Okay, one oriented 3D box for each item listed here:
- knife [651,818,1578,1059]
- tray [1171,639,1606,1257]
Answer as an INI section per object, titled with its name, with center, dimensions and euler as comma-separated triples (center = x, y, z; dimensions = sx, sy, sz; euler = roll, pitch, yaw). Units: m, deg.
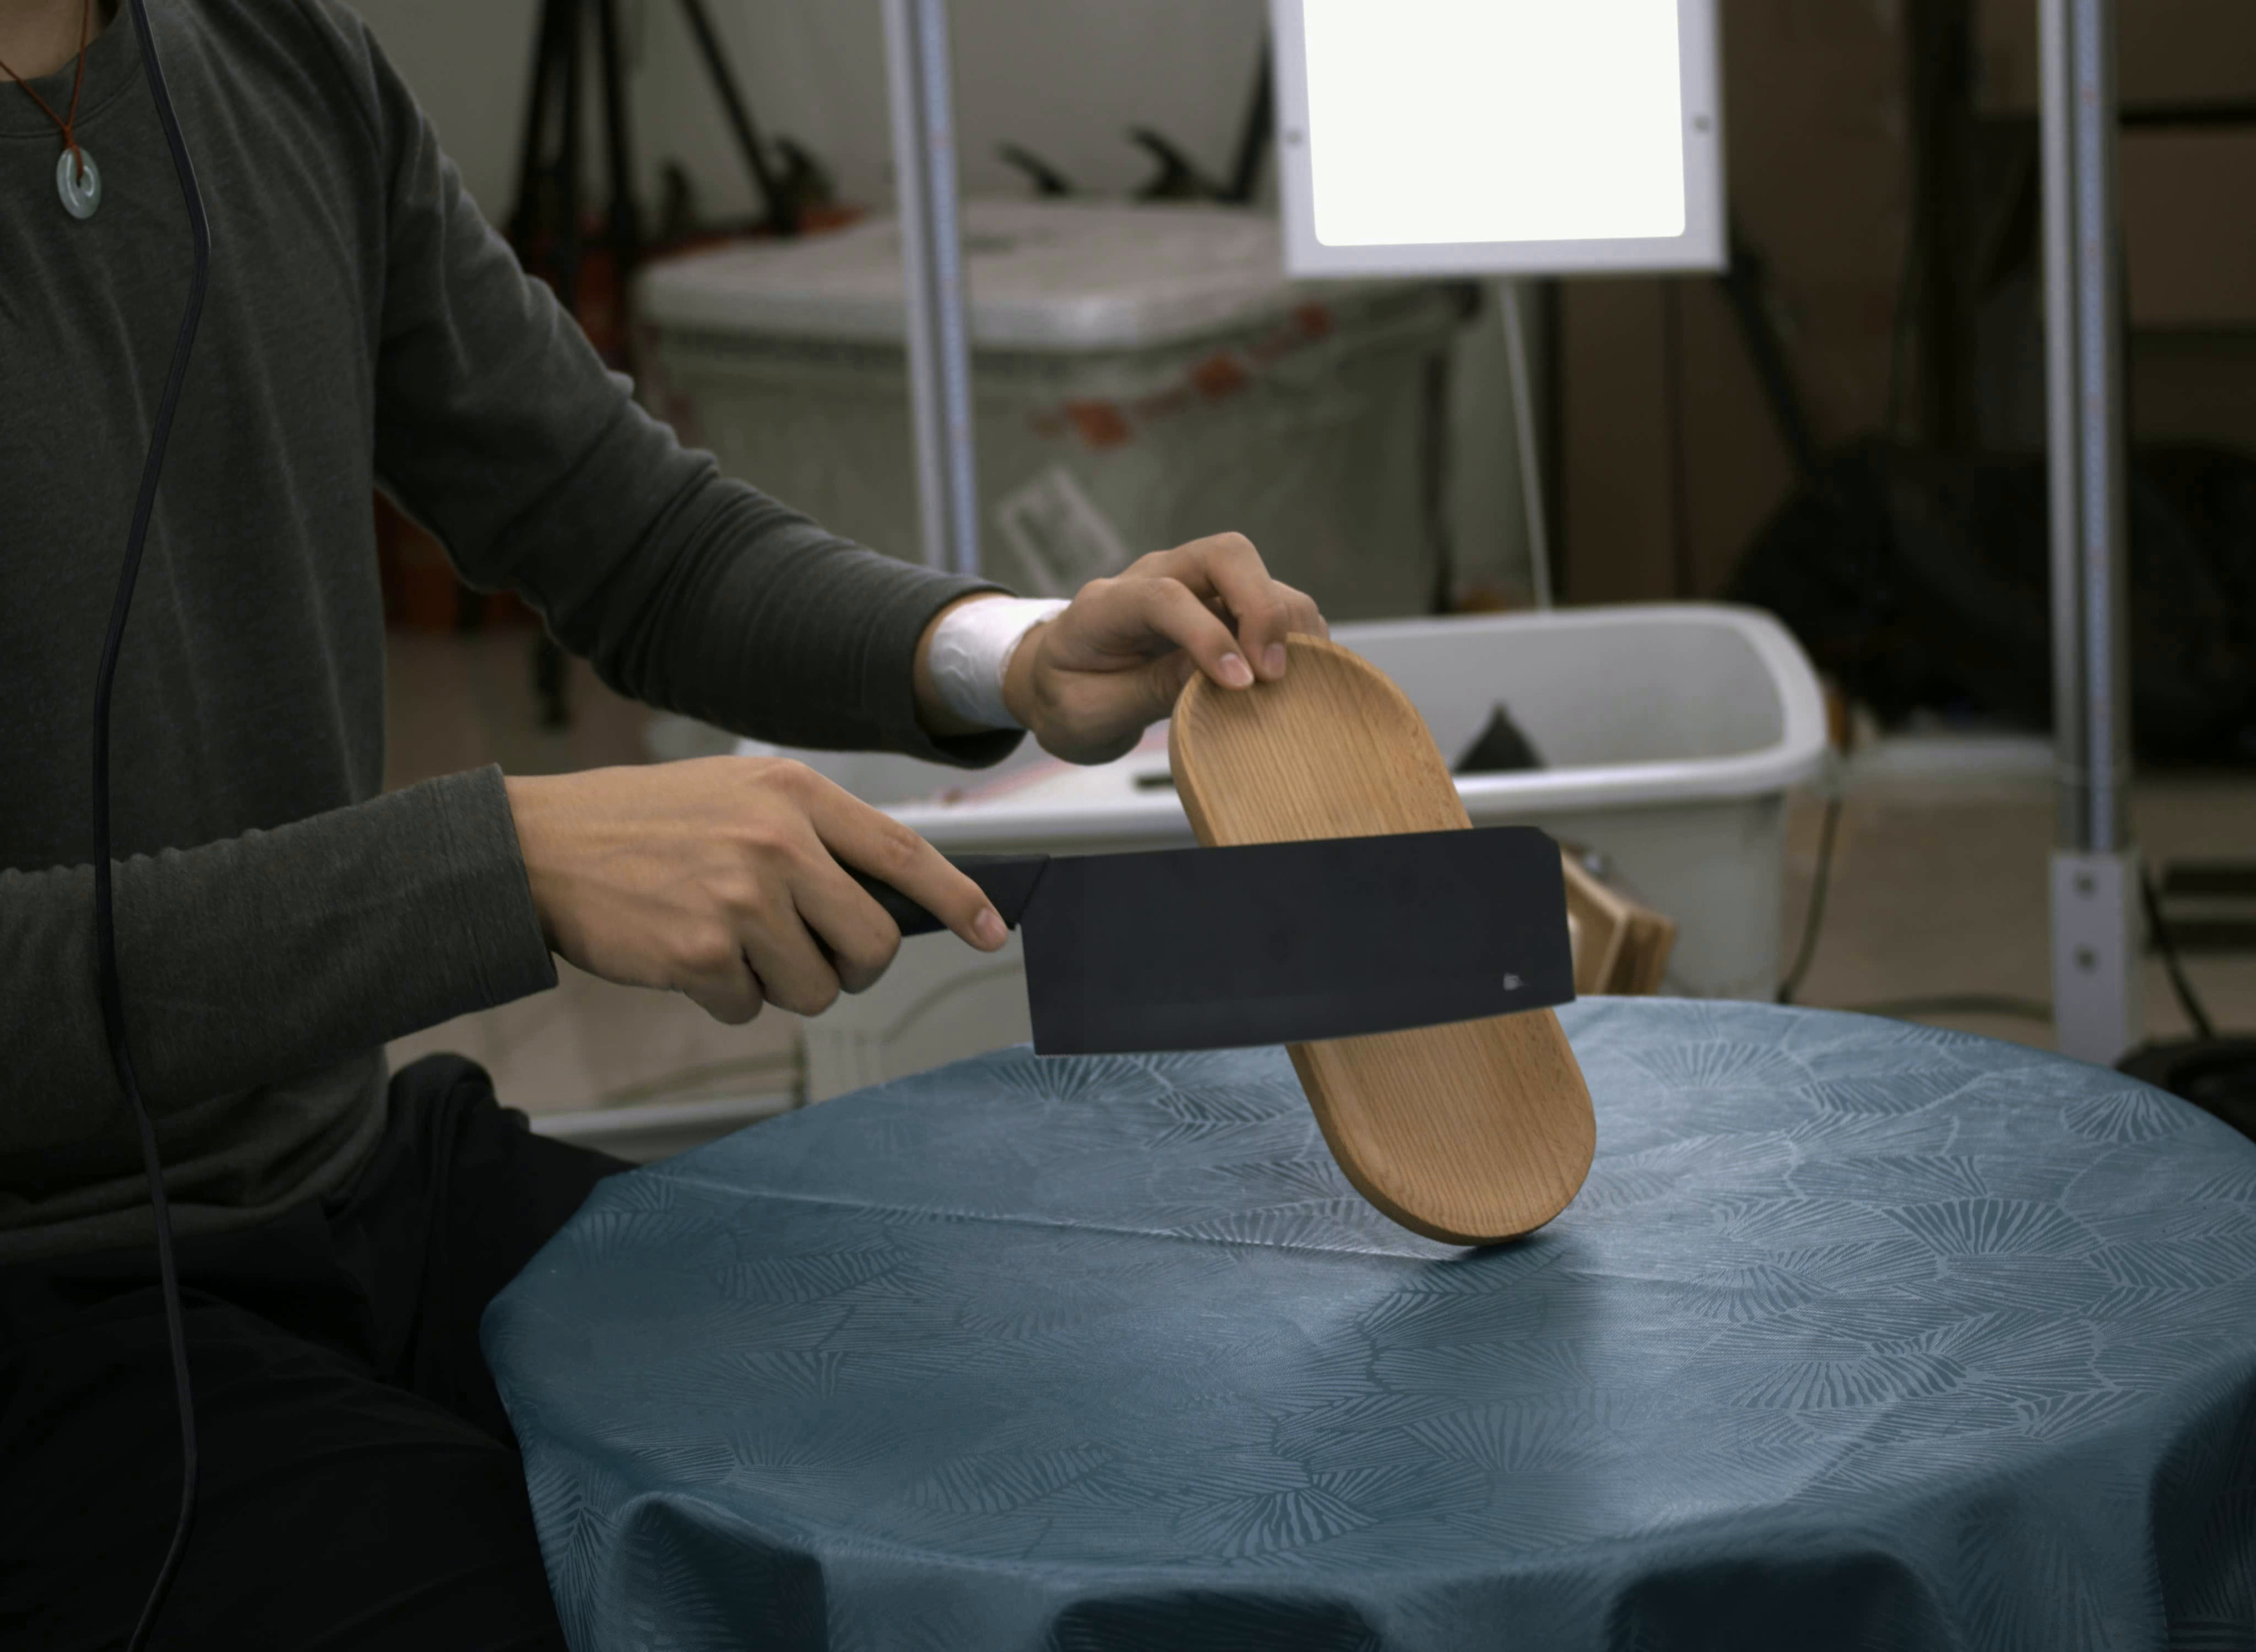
[knife]
center = -0.003, 0.036, 1.774
dimensions = 0.300, 0.081, 0.021
euler = 0, -12, -5
[tray]
center = 0.086, 0.040, 1.848
dimensions = 0.099, 0.232, 0.020
euler = -13, -21, -28
